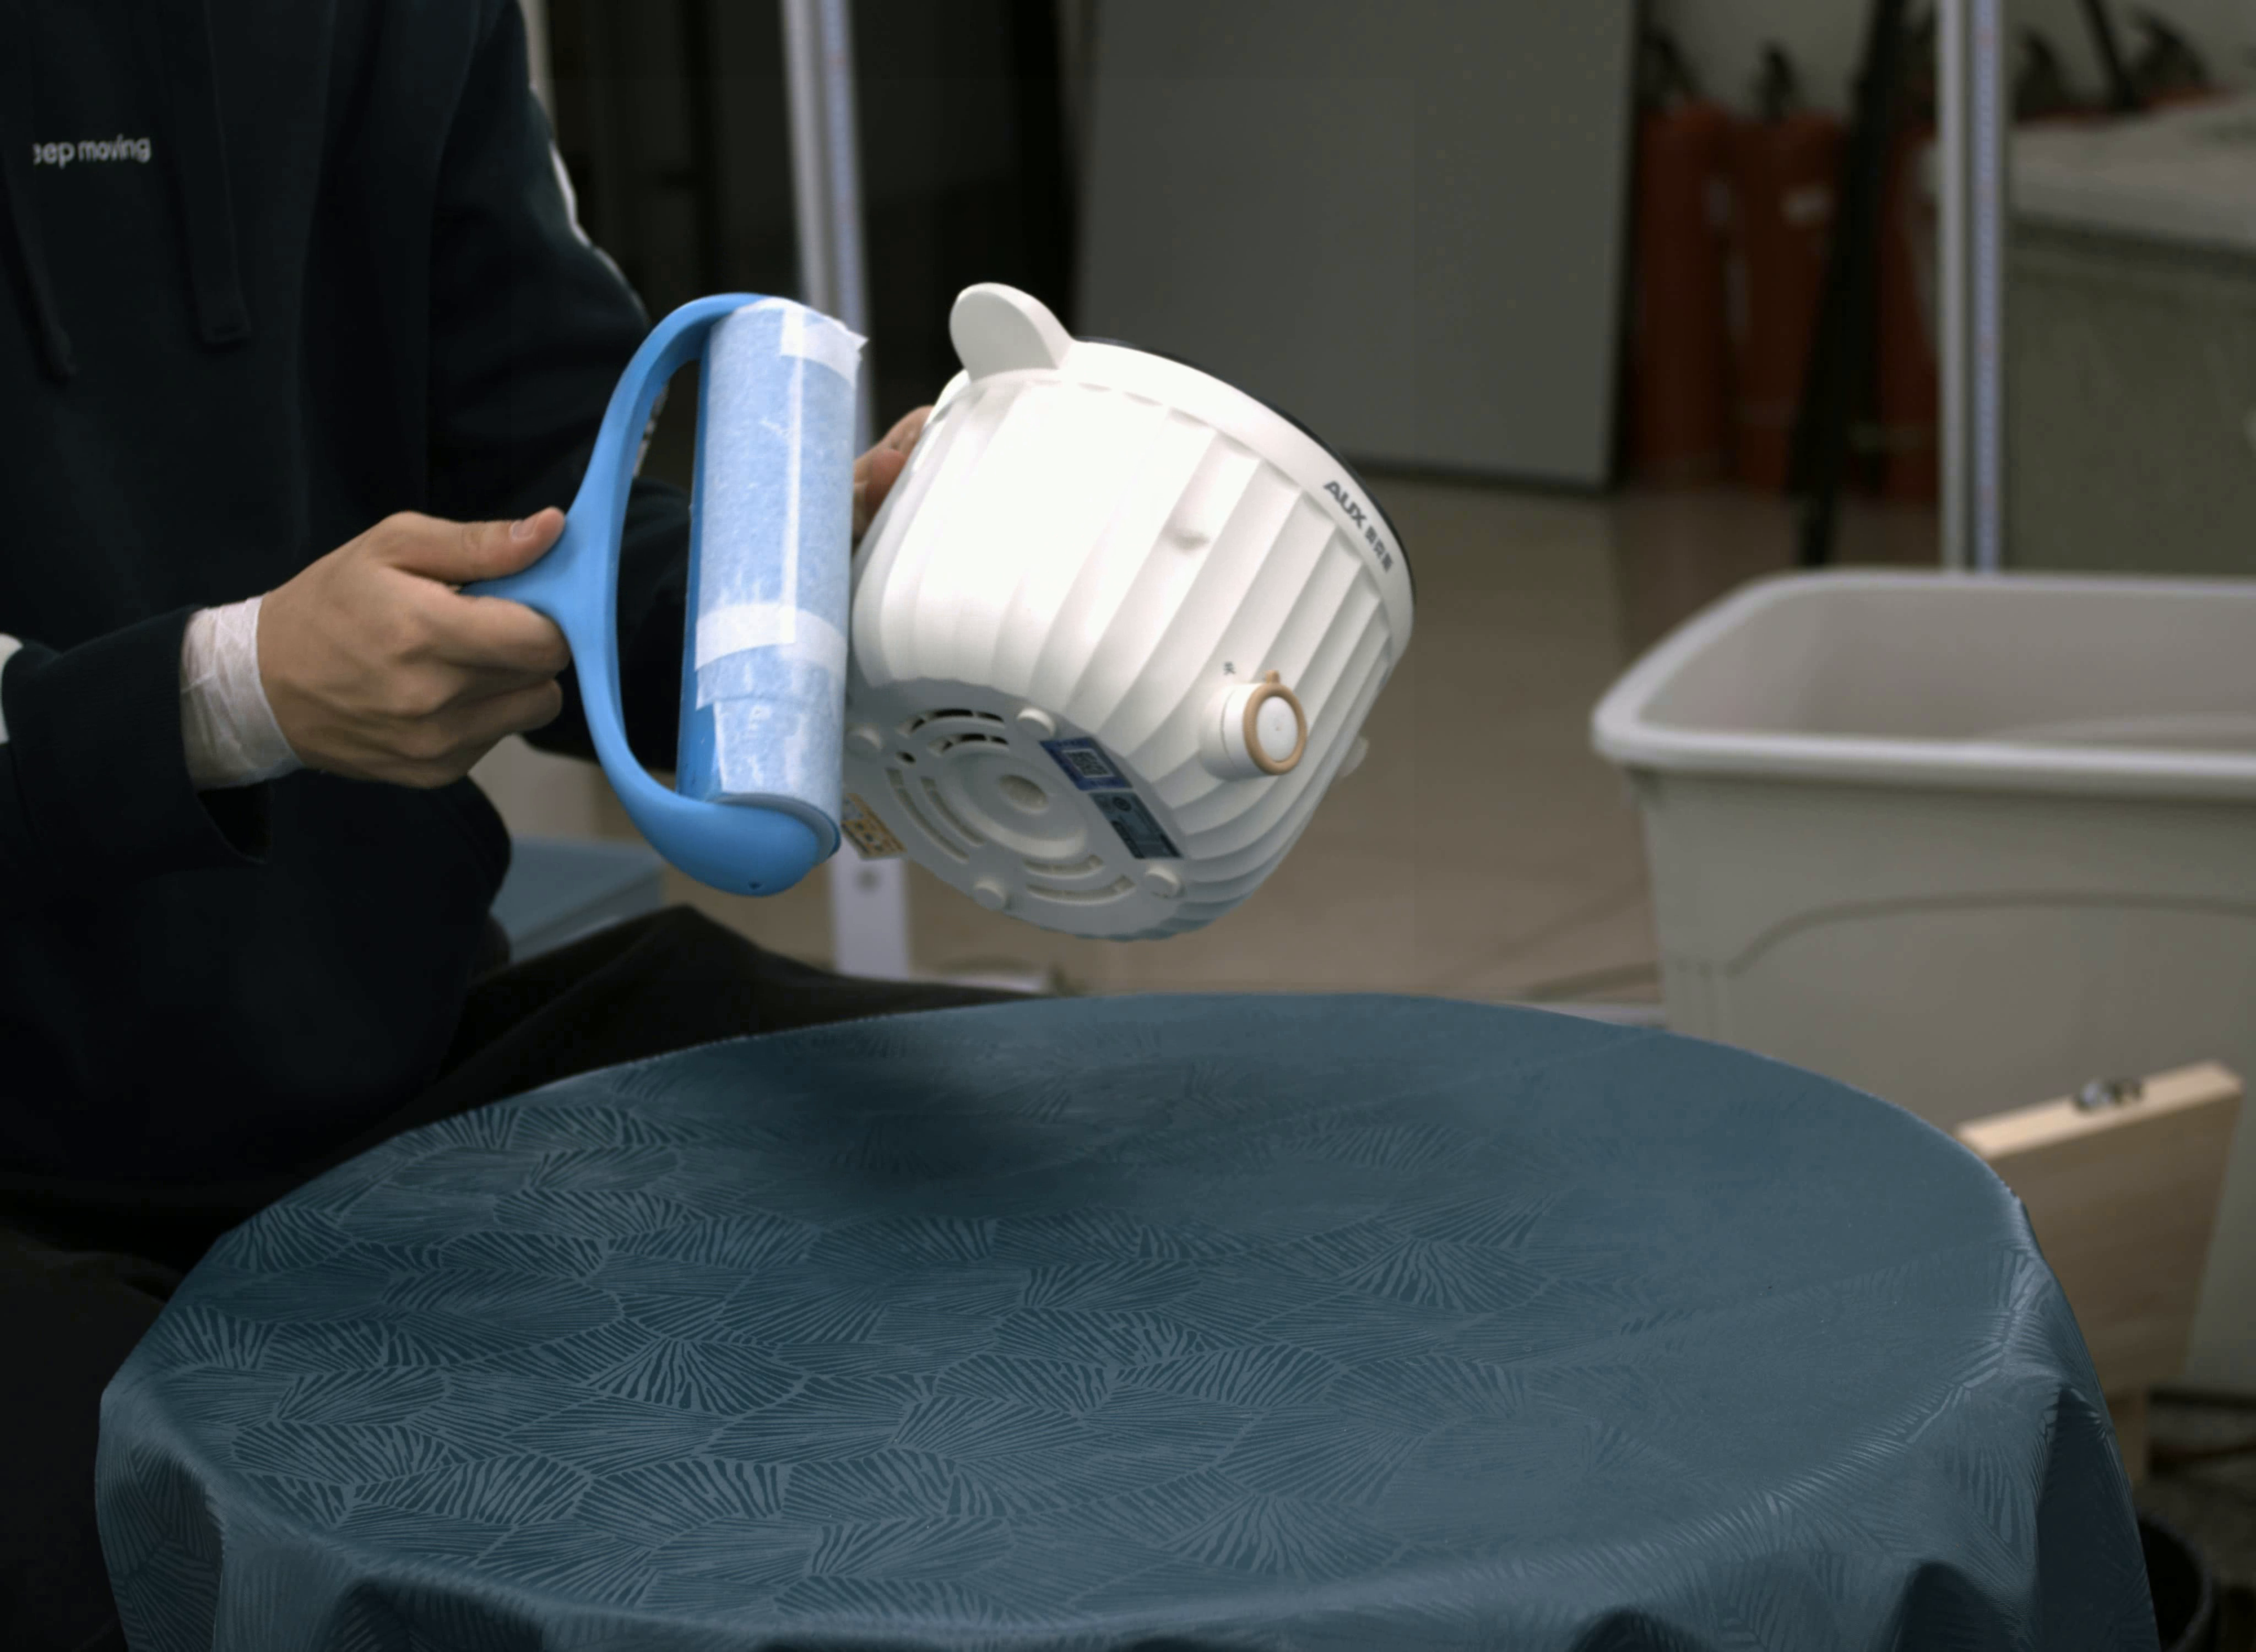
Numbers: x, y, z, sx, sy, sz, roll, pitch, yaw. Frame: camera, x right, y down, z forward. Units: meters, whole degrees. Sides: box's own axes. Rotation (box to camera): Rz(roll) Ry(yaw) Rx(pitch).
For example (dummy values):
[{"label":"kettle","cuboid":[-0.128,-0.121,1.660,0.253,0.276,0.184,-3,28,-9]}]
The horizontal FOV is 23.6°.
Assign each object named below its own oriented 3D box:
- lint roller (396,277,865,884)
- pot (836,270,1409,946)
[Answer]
[{"label":"lint roller","cuboid":[-0.170,-0.070,1.778,0.179,0.231,0.067,-13,-34,15]},{"label":"pot","cuboid":[-0.008,-0.054,1.809,0.192,0.238,0.143,-8,44,39]}]
